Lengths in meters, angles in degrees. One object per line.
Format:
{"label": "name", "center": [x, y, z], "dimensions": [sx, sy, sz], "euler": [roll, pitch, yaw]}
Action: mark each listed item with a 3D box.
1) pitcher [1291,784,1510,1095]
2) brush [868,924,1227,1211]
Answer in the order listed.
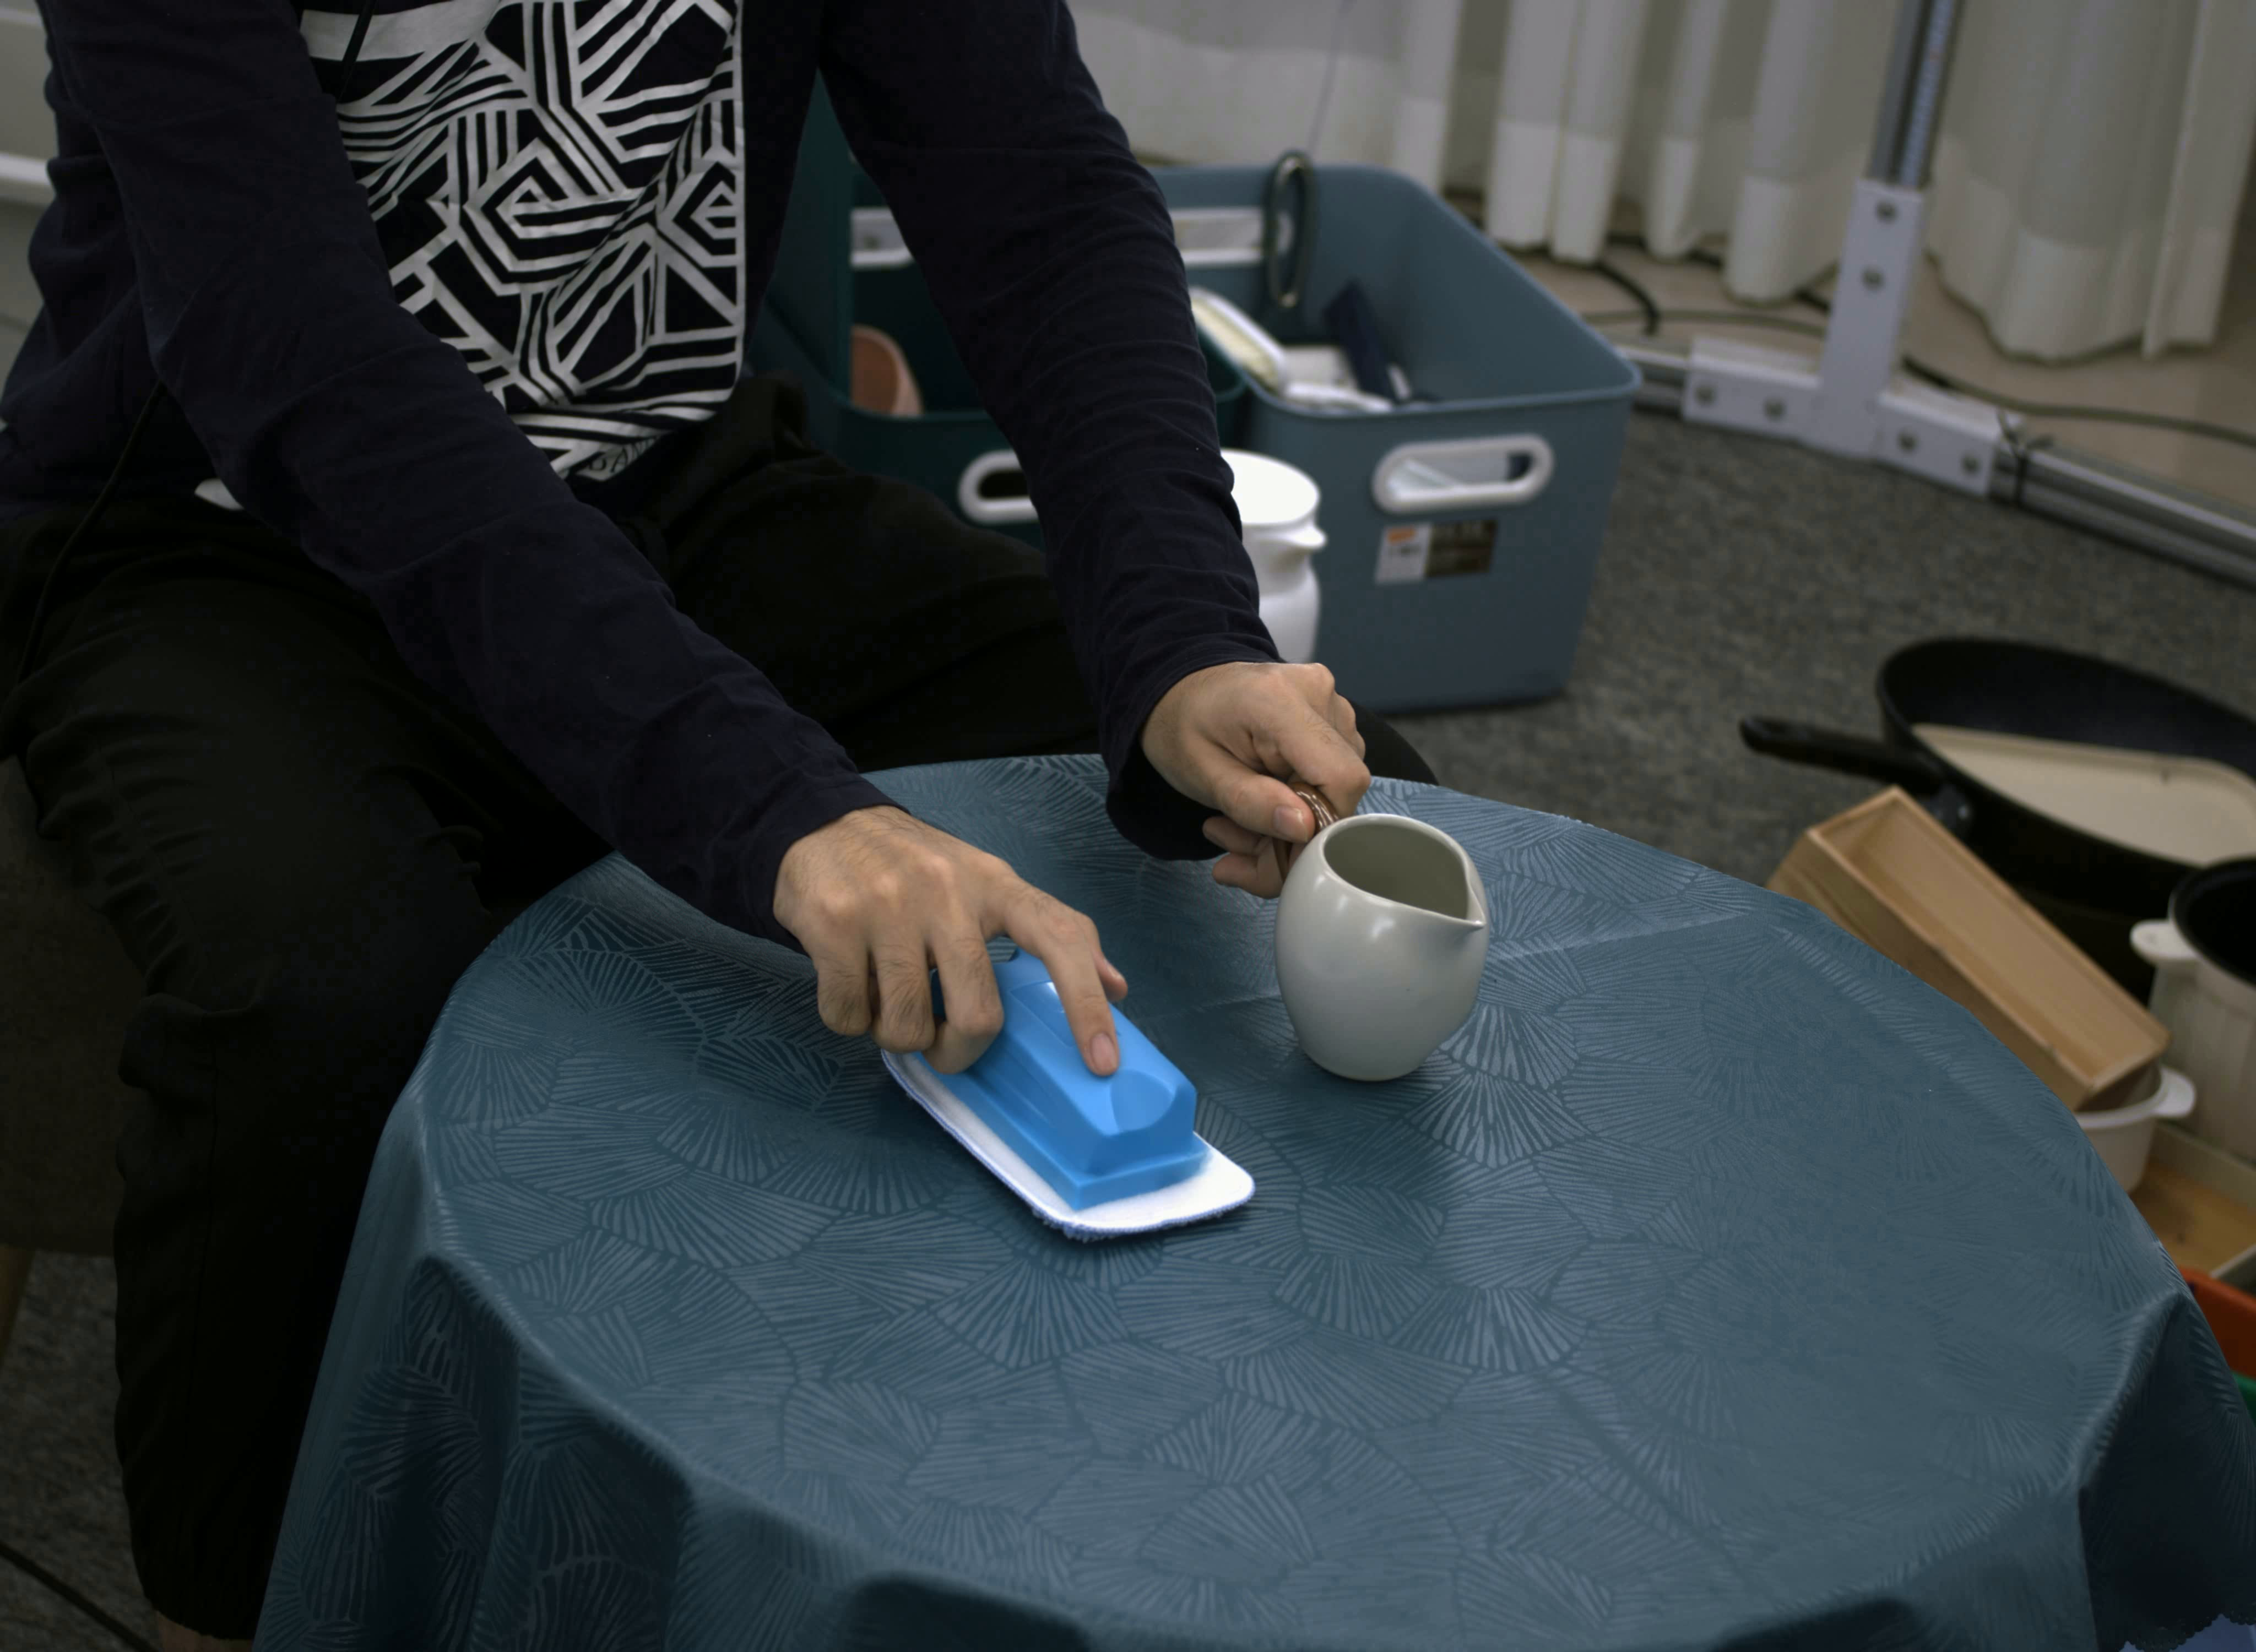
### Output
{"label": "pitcher", "center": [0.091, 0.043, 1.883], "dimensions": [0.075, 0.087, 0.120], "euler": [-9, 42, -29]}
{"label": "brush", "center": [-0.025, 0.078, 1.823], "dimensions": [0.083, 0.056, 0.145], "euler": [-6, 32, -30]}
